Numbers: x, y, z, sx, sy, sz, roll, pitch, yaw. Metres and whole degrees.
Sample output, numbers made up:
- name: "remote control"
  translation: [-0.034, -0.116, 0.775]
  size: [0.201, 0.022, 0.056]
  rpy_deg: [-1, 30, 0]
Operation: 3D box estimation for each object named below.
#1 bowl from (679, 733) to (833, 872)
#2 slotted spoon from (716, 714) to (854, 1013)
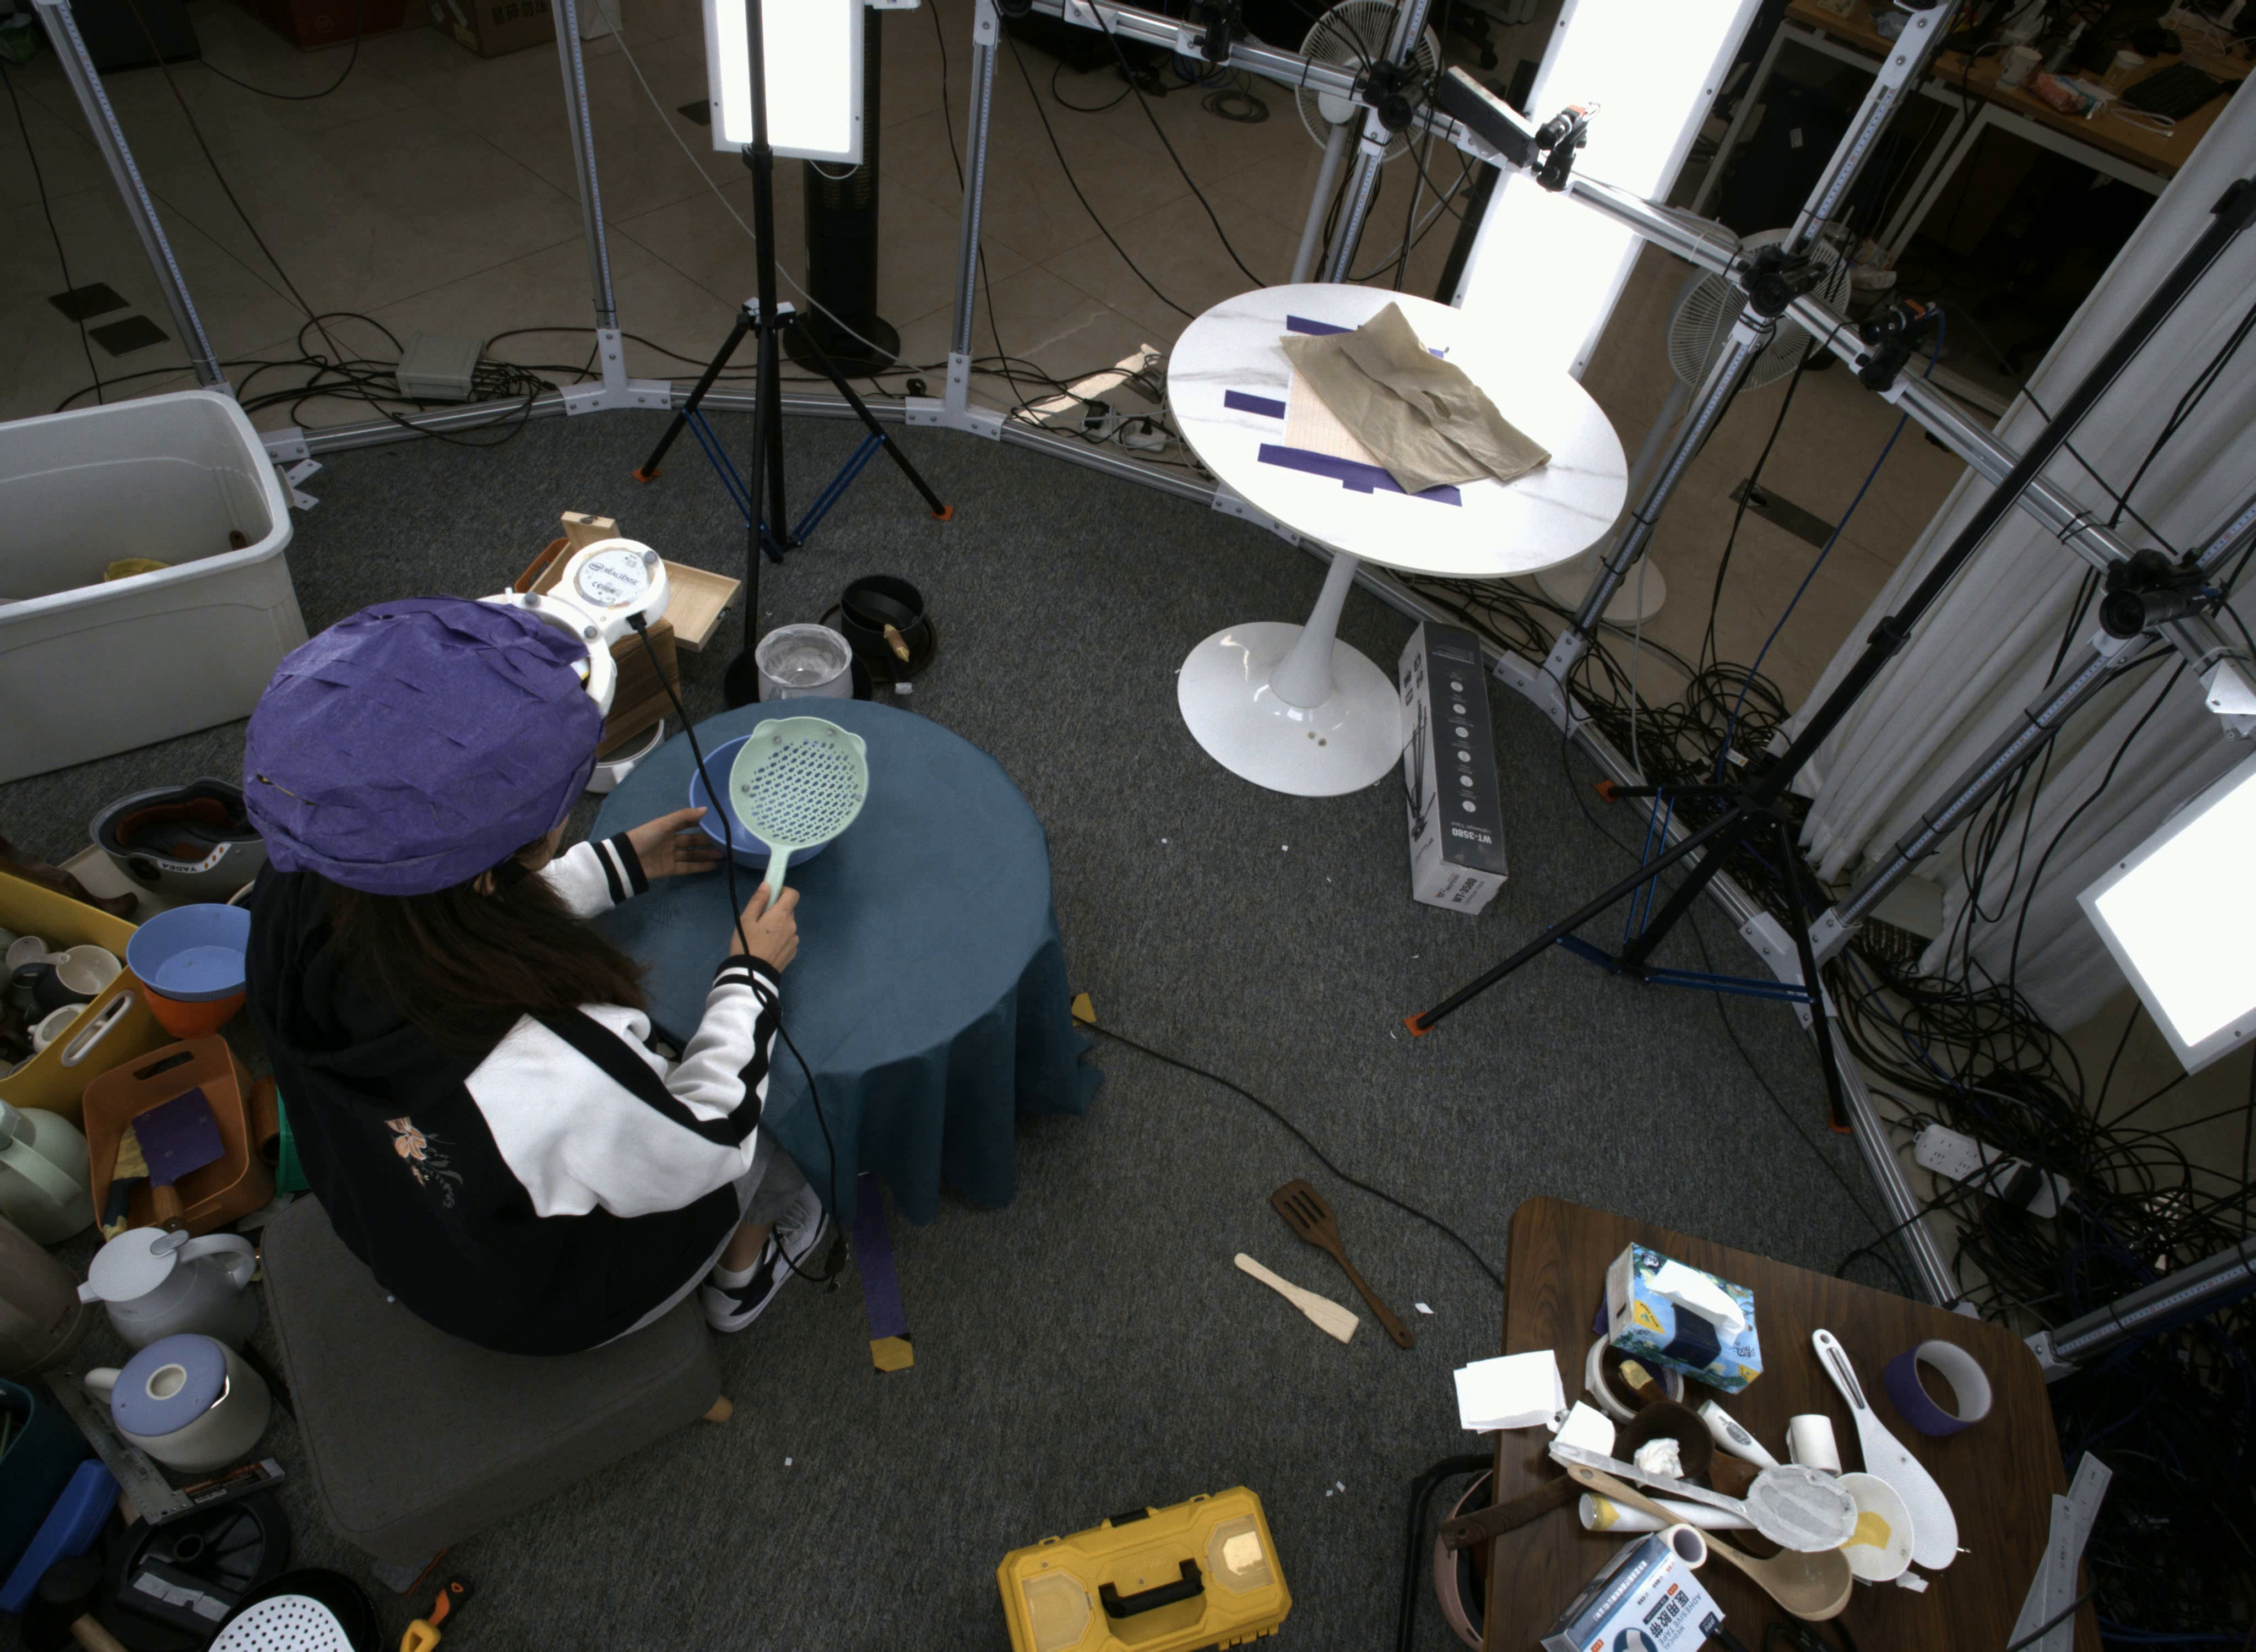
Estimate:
- name: "bowl"
  translation: [-0.469, -0.016, 1.658]
  size: [0.196, 0.097, 0.193]
  rpy_deg: [8, 52, -9]
- name: "slotted spoon"
  translation: [-0.430, 0.040, 1.554]
  size: [0.167, 0.077, 0.356]
  rpy_deg: [8, 66, 2]
